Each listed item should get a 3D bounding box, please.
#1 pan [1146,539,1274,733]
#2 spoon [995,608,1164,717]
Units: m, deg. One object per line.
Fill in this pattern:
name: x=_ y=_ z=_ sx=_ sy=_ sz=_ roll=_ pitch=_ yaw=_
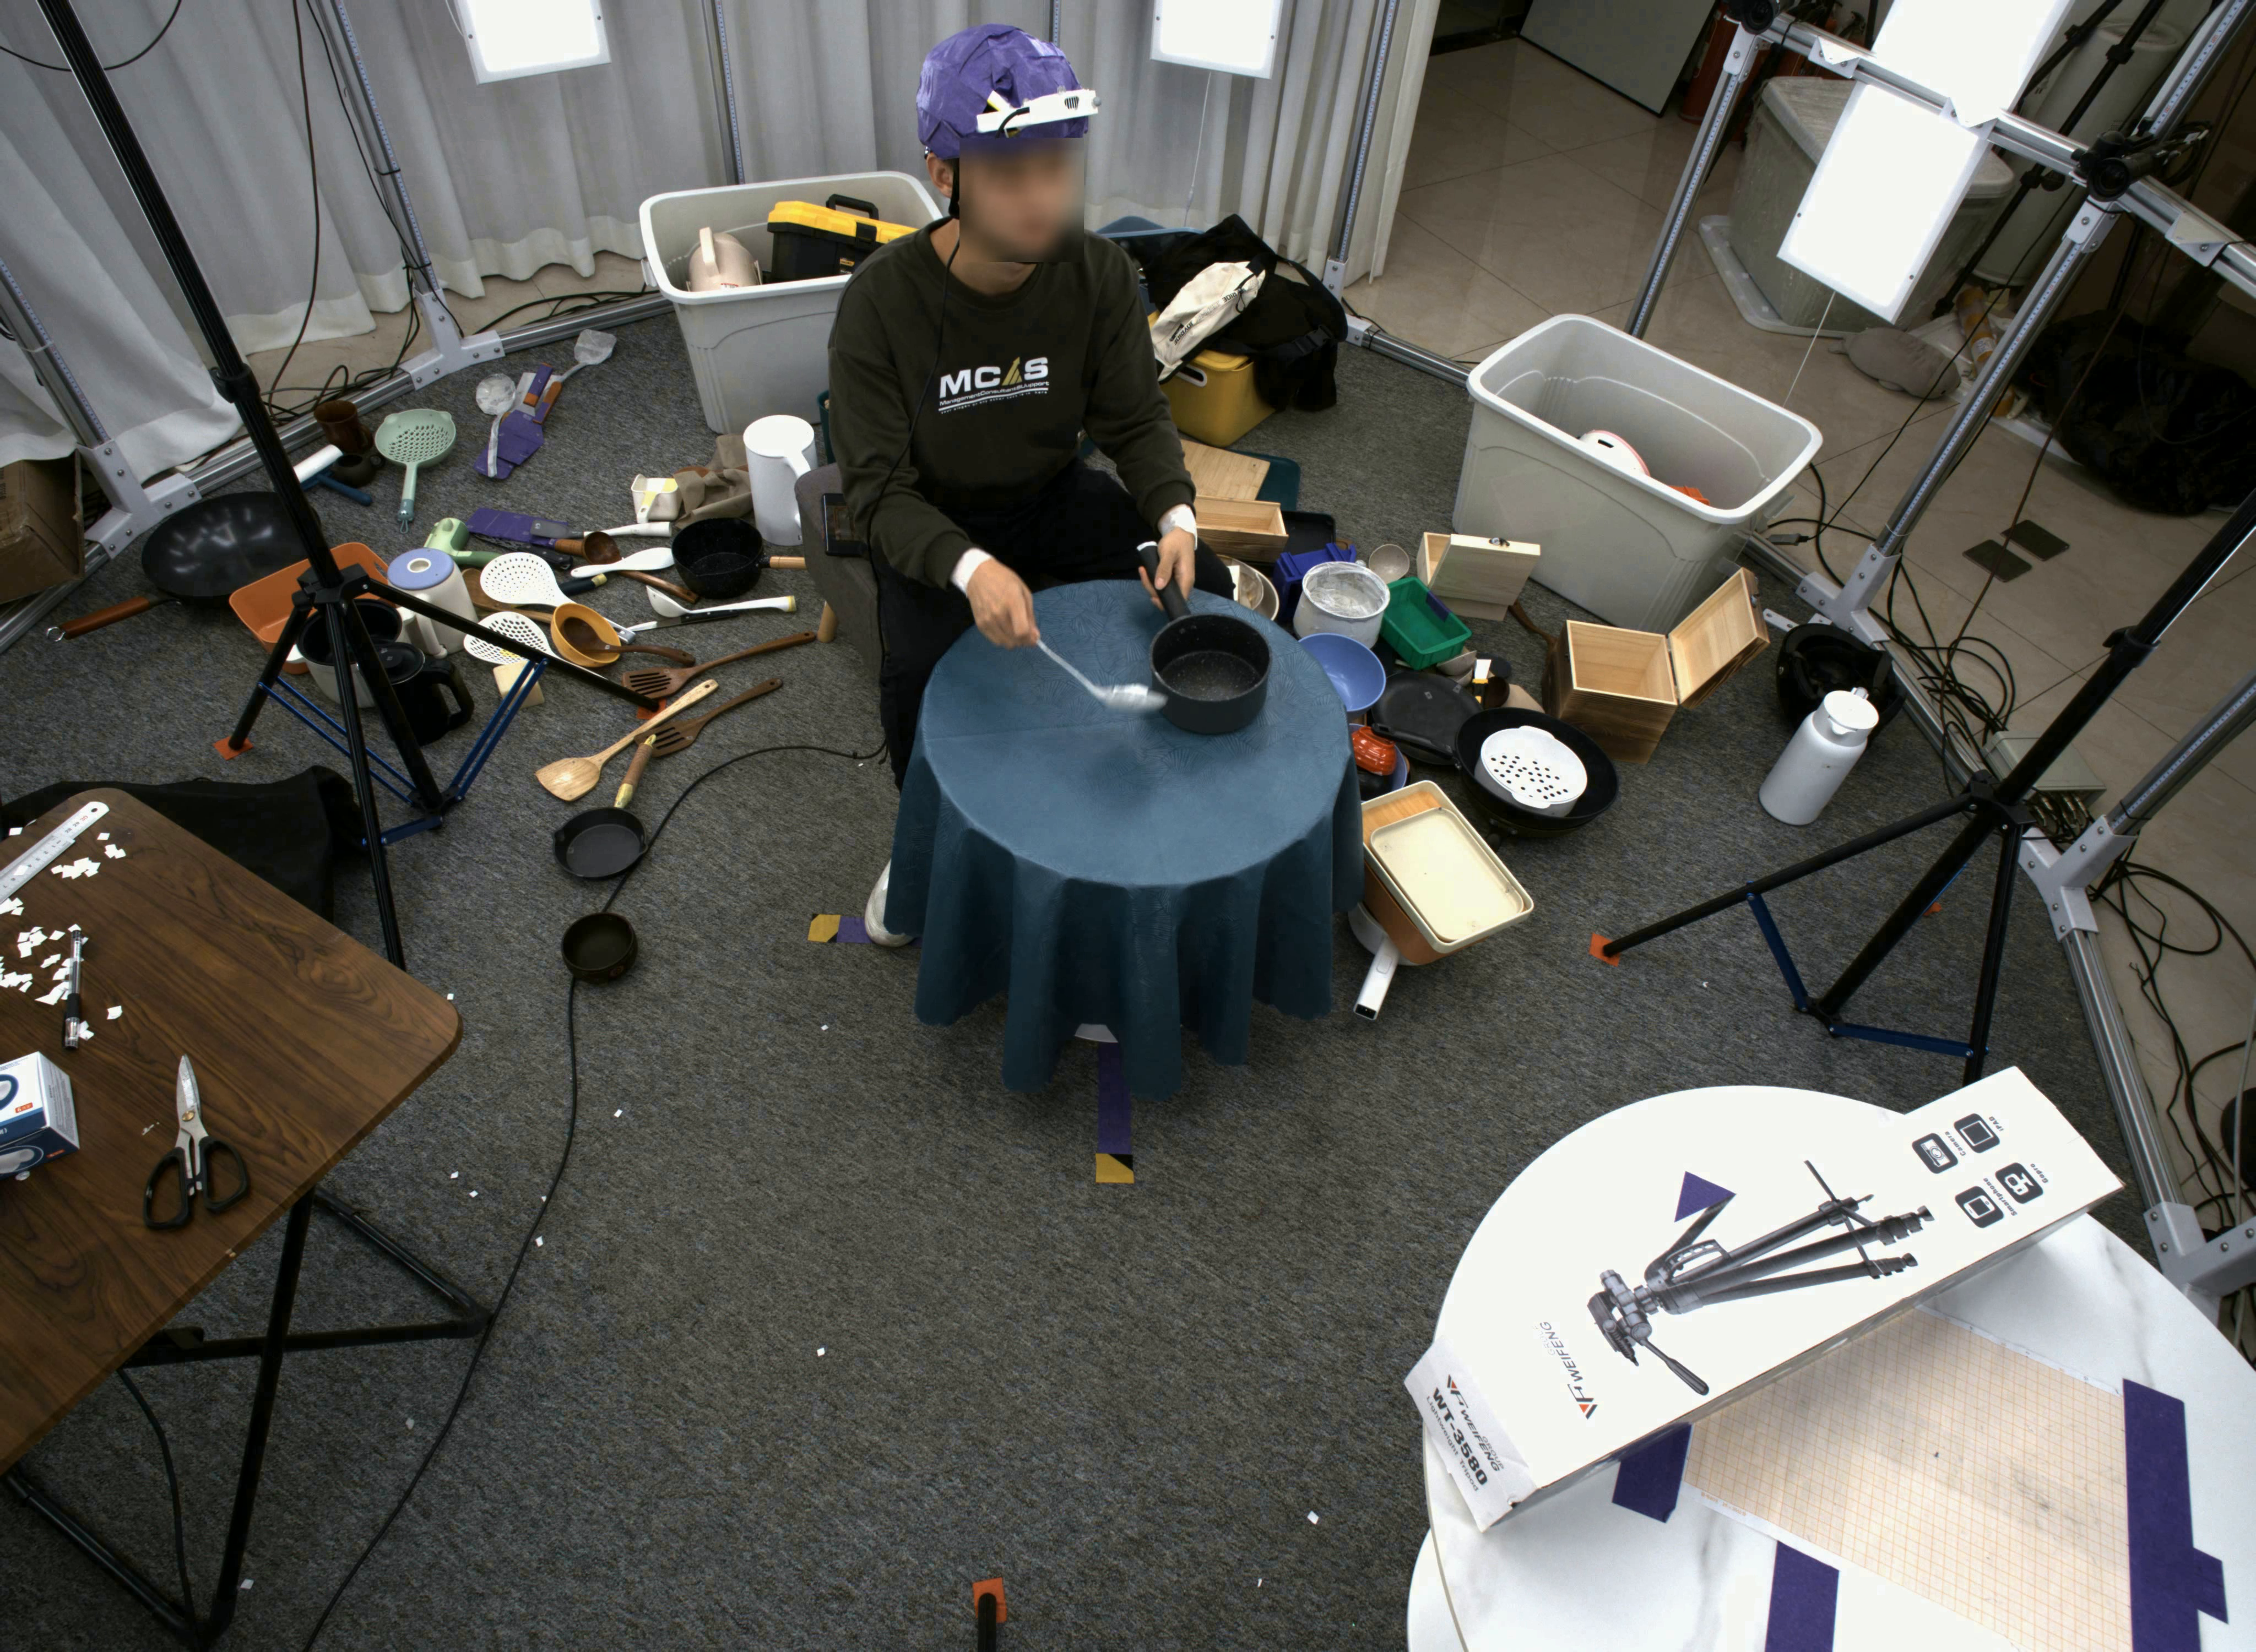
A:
pan: x=0.091 y=-0.276 z=1.850 sx=0.172 sy=0.084 sz=0.336 roll=-14 pitch=53 yaw=-11
spoon: x=-0.068 y=-0.229 z=1.736 sx=0.281 sy=0.099 sz=0.059 roll=43 pitch=93 yaw=20
